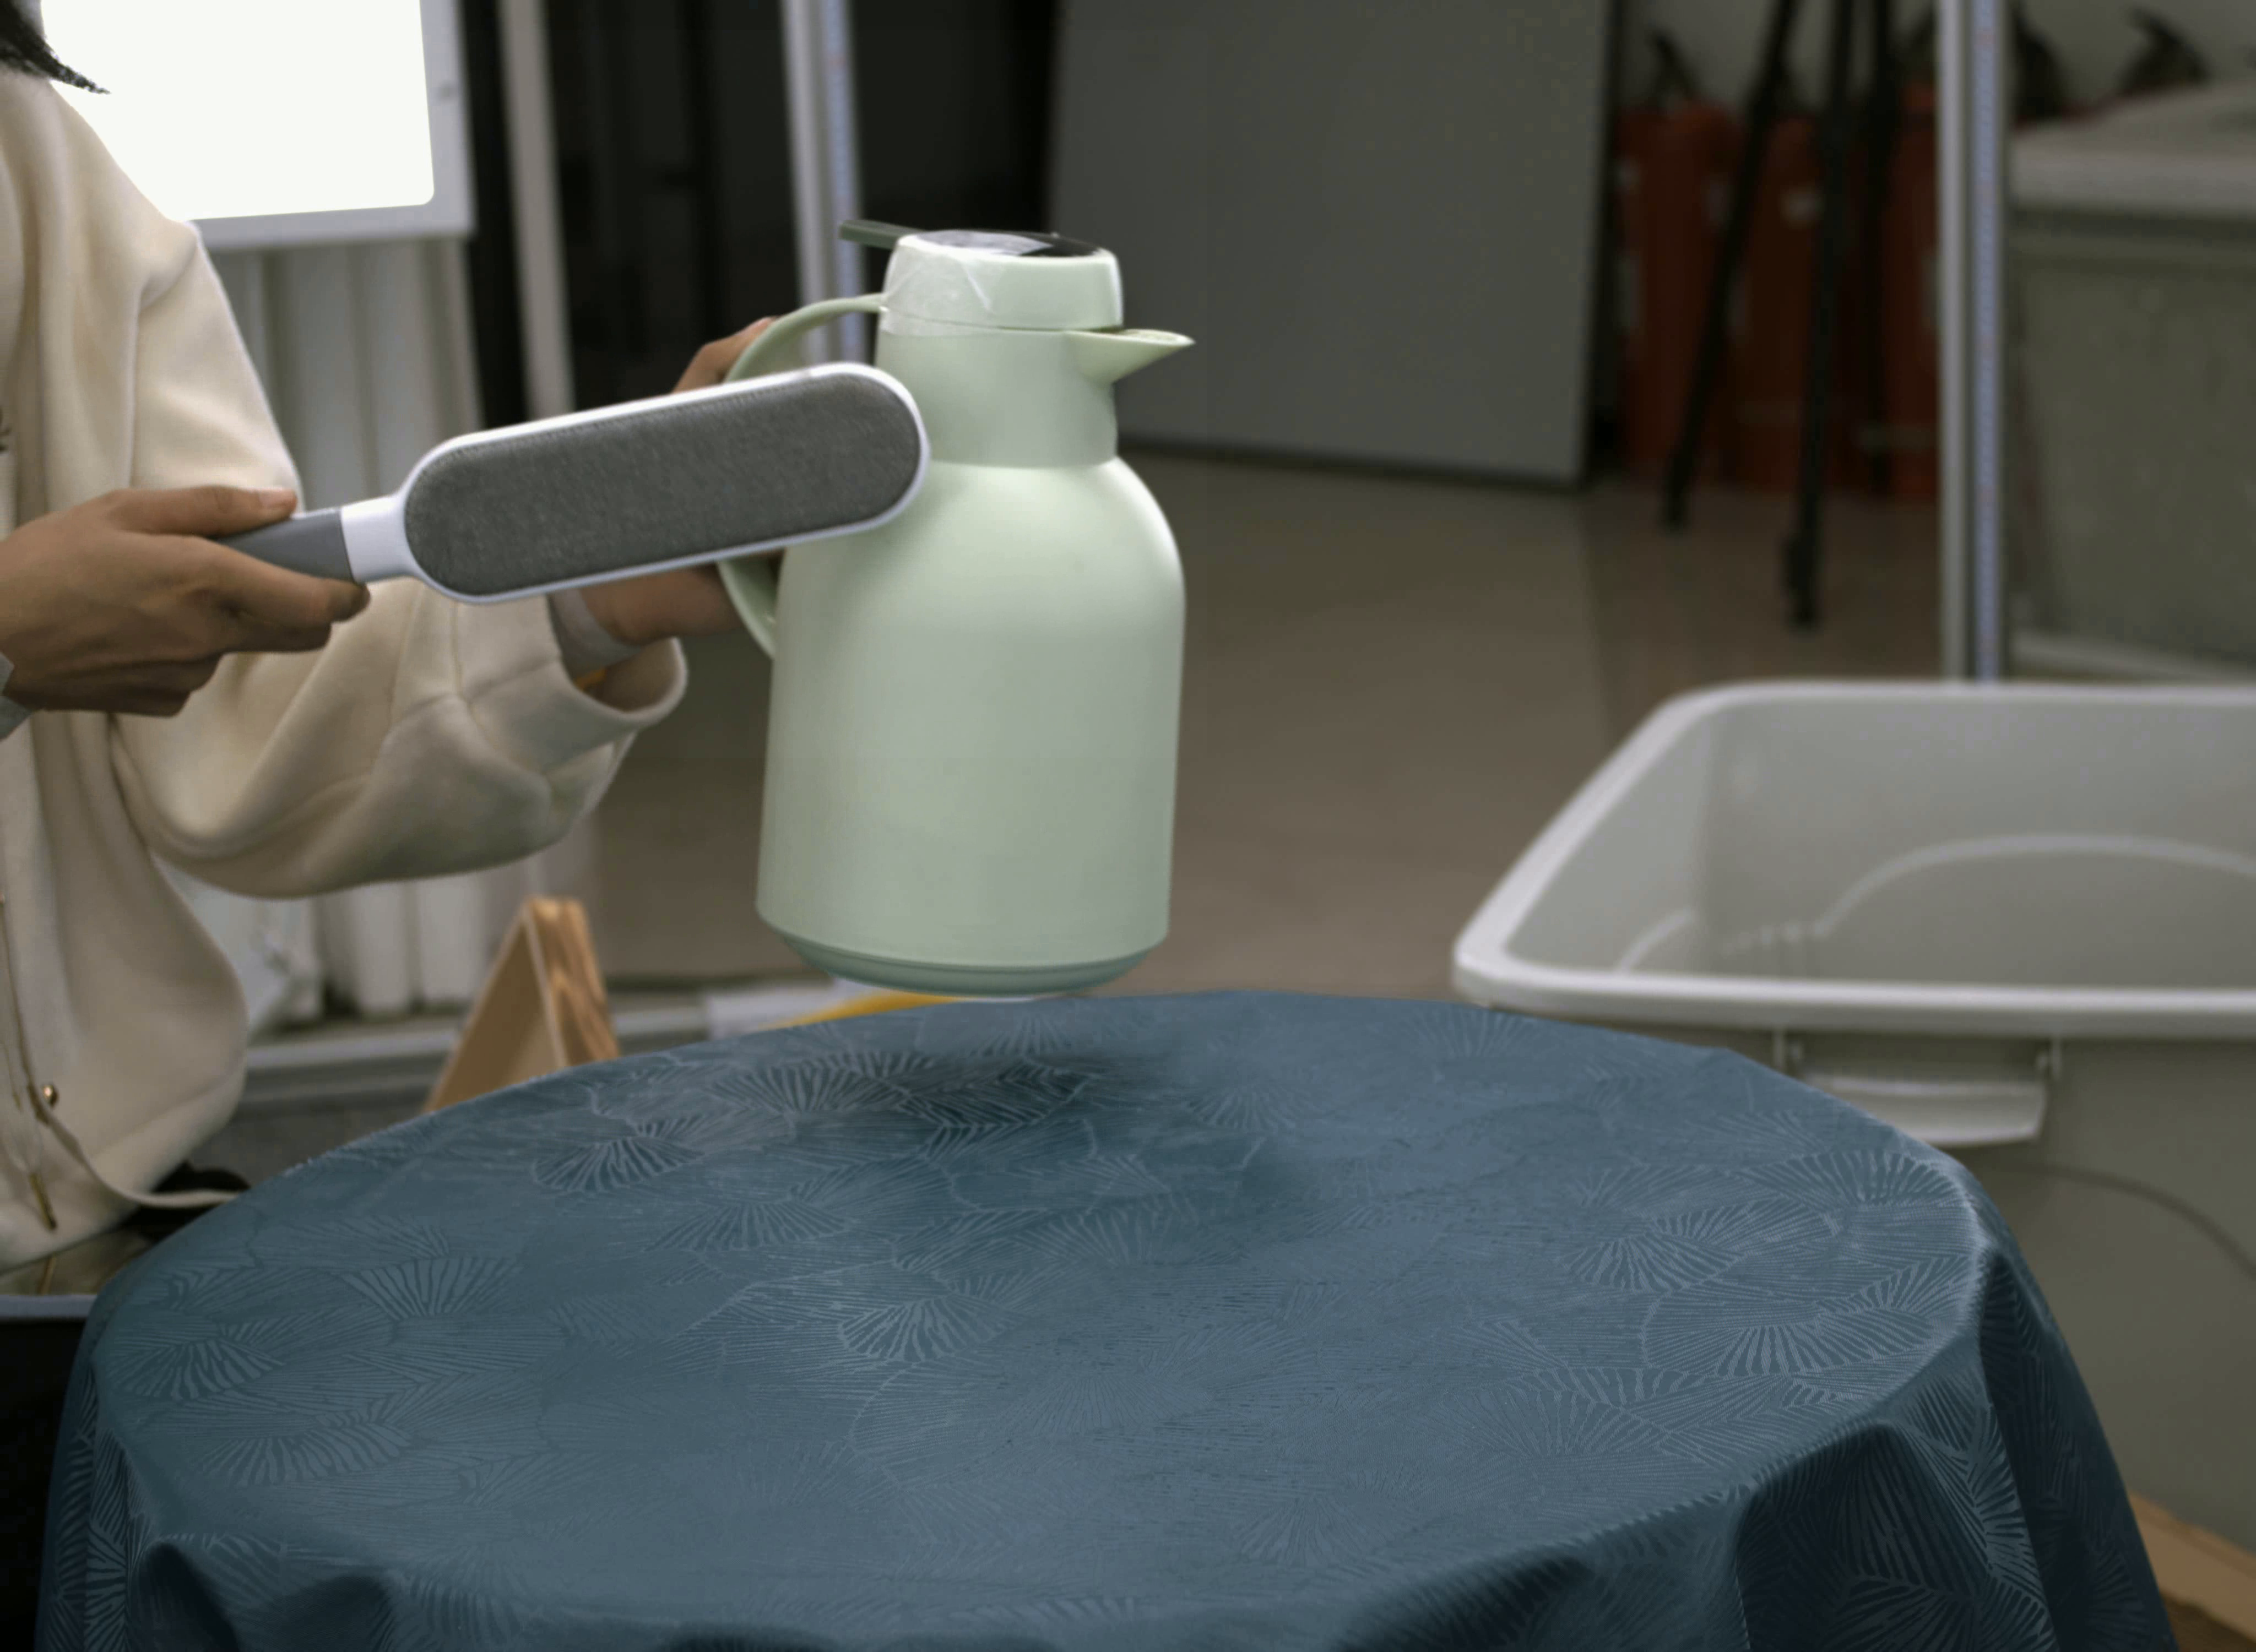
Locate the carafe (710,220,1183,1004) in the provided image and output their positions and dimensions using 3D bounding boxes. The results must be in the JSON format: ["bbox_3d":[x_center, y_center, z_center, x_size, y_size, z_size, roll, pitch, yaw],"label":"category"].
[{"bbox_3d":[-0.063,-0.078,1.870,0.187,0.260,0.142,6,13,31],"label":"carafe"}]

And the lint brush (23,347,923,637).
[{"bbox_3d":[-0.217,-0.105,1.797,0.306,0.061,0.021,-12,7,4],"label":"lint brush"}]
